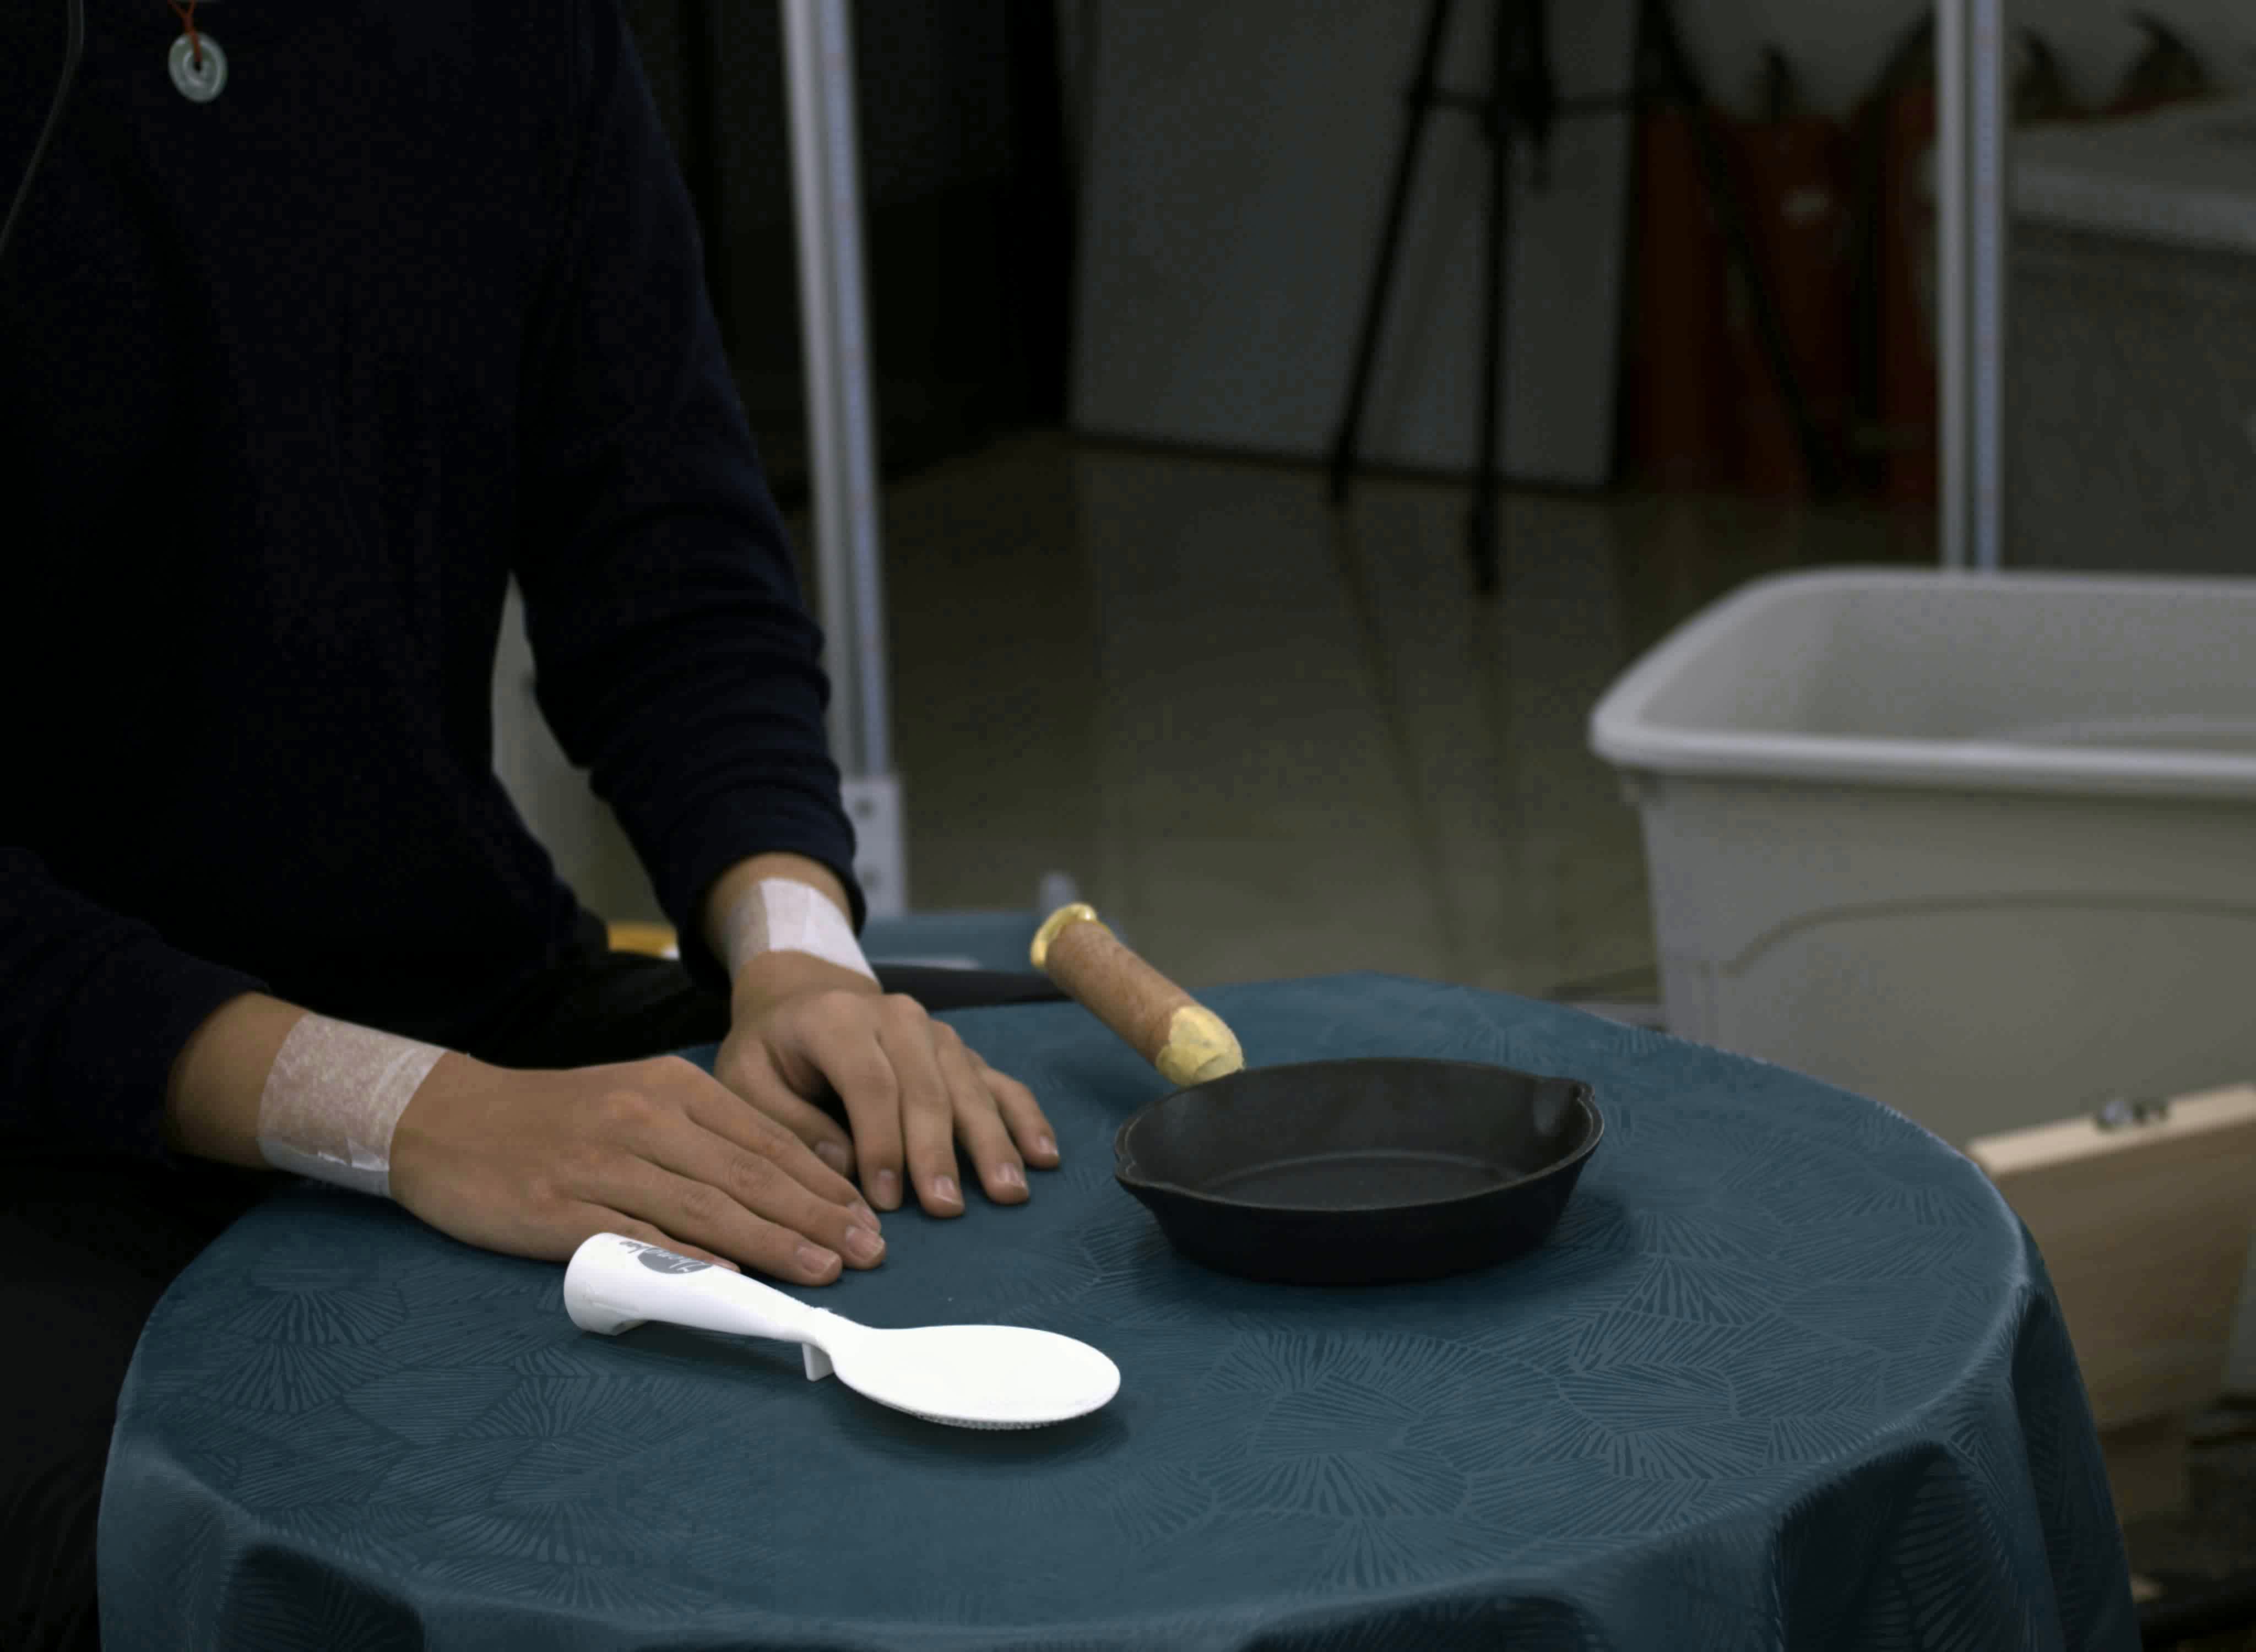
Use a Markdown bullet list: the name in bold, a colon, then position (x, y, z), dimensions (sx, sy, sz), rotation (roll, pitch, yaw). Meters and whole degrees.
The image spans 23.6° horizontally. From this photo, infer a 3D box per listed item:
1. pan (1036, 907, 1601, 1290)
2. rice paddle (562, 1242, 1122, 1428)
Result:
- **pan**: position (0.041, 0.087, 1.792), dimensions (0.165, 0.050, 0.327), rotation (-10, 16, -21)
- **rice paddle**: position (-0.086, 0.152, 1.609), dimensions (0.207, 0.030, 0.067), rotation (7, 19, 40)
